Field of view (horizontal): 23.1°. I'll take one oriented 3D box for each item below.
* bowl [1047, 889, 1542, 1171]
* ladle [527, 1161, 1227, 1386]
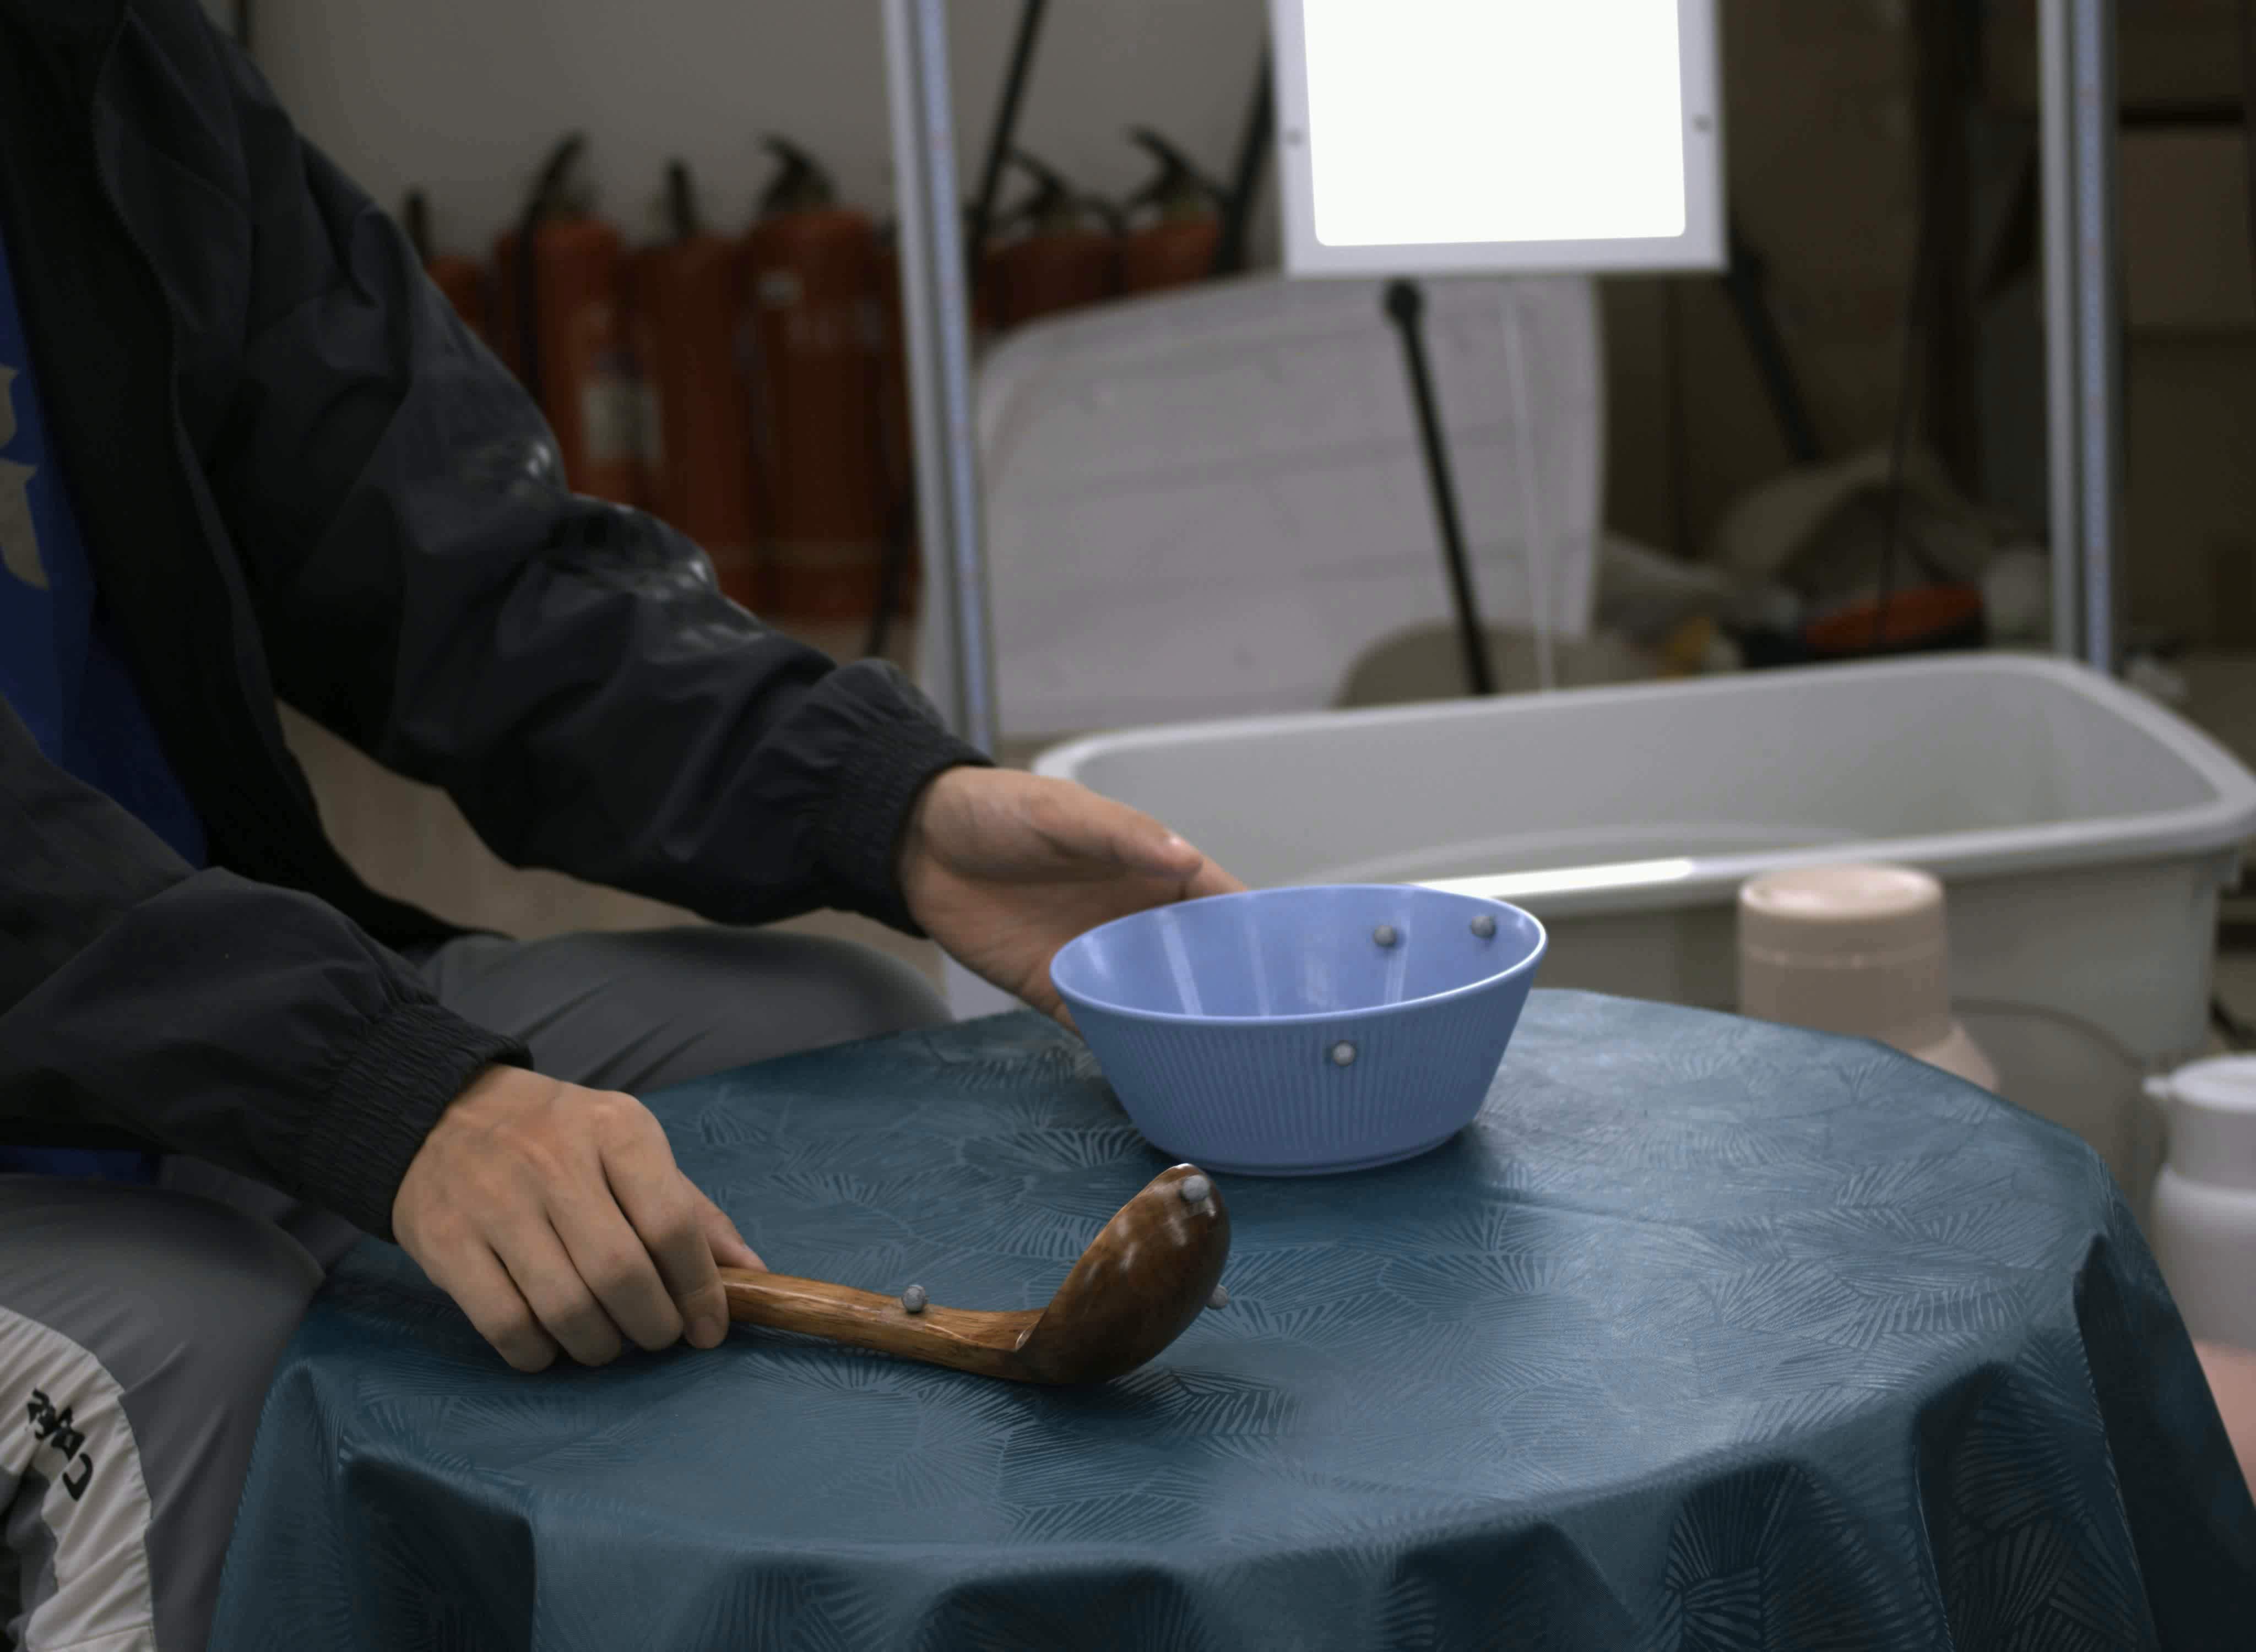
[{"bbox_3d":[0.061,0.074,1.940,0.175,0.070,0.176,-5,13,0],"label":"bowl"},{"bbox_3d":[-0.089,0.130,1.750,0.280,0.077,0.080,6,17,36],"label":"ladle"}]
